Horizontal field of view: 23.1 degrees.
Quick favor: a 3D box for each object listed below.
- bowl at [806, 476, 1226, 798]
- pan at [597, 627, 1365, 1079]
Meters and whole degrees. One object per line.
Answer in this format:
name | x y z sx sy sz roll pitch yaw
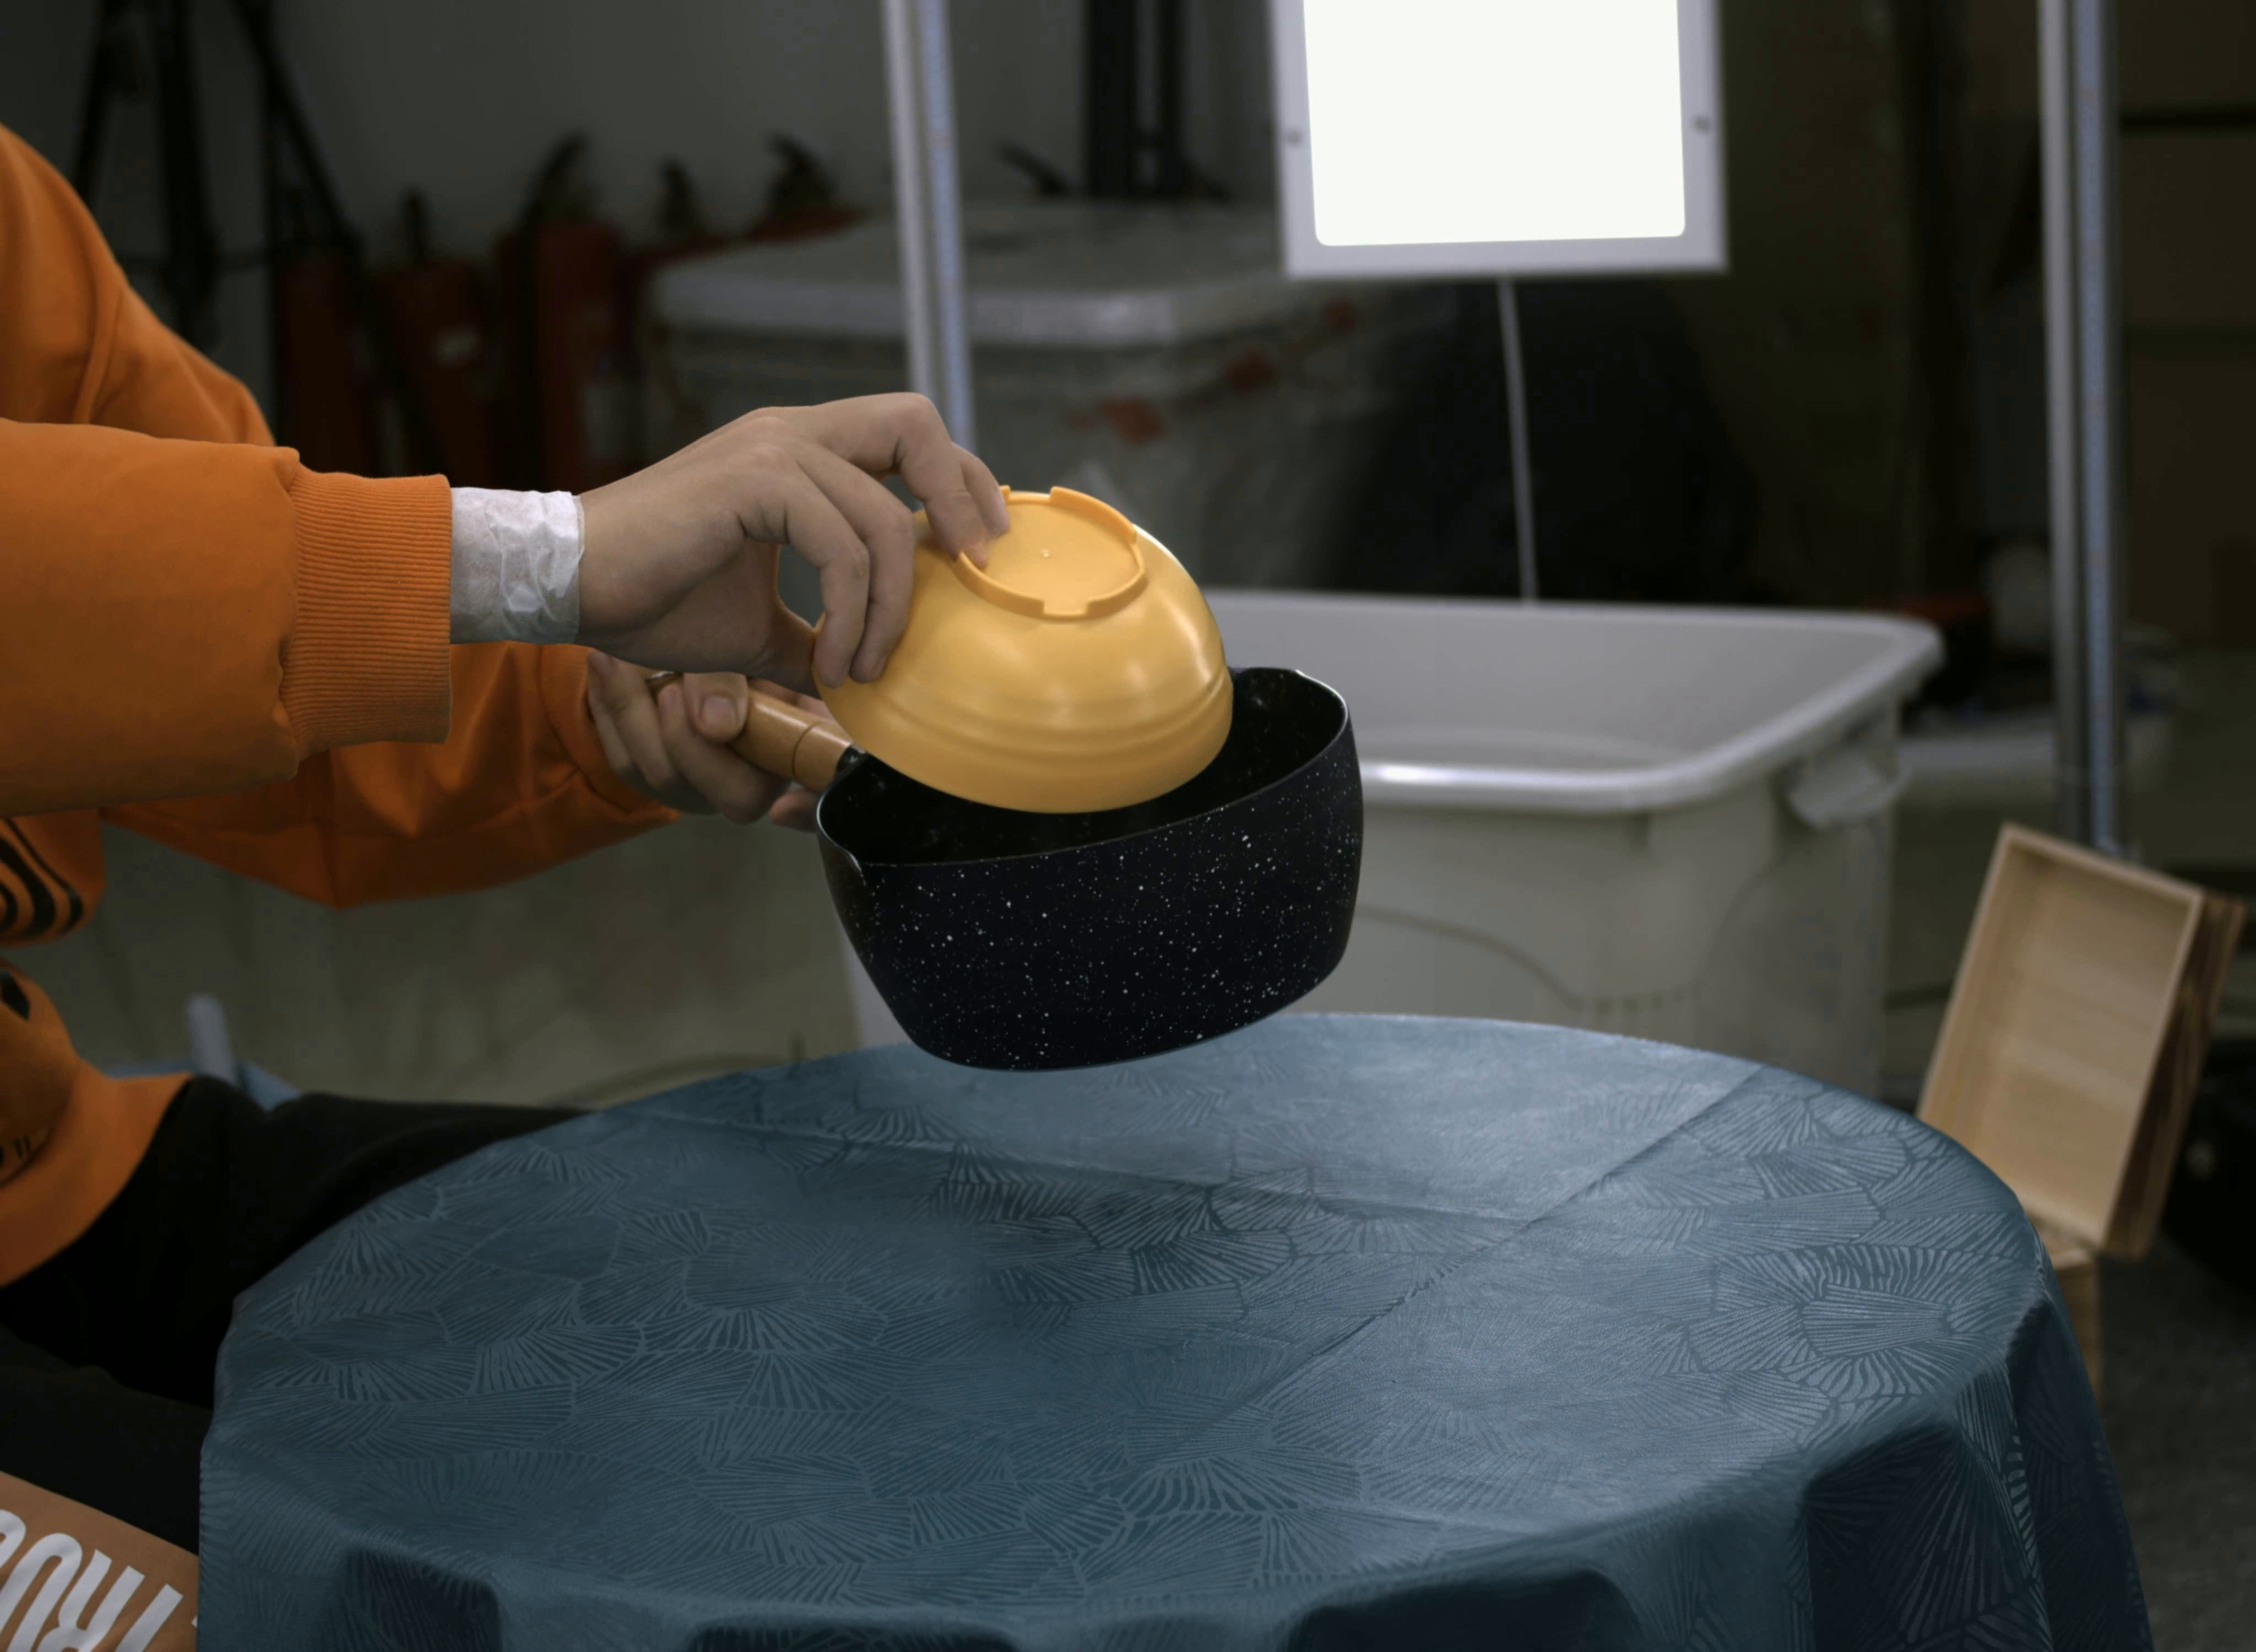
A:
bowl | -0.032 -0.074 1.834 0.144 0.061 0.145 7 36 -6
pan | -0.065 -0.002 1.910 0.202 0.108 0.350 -28 25 -38
